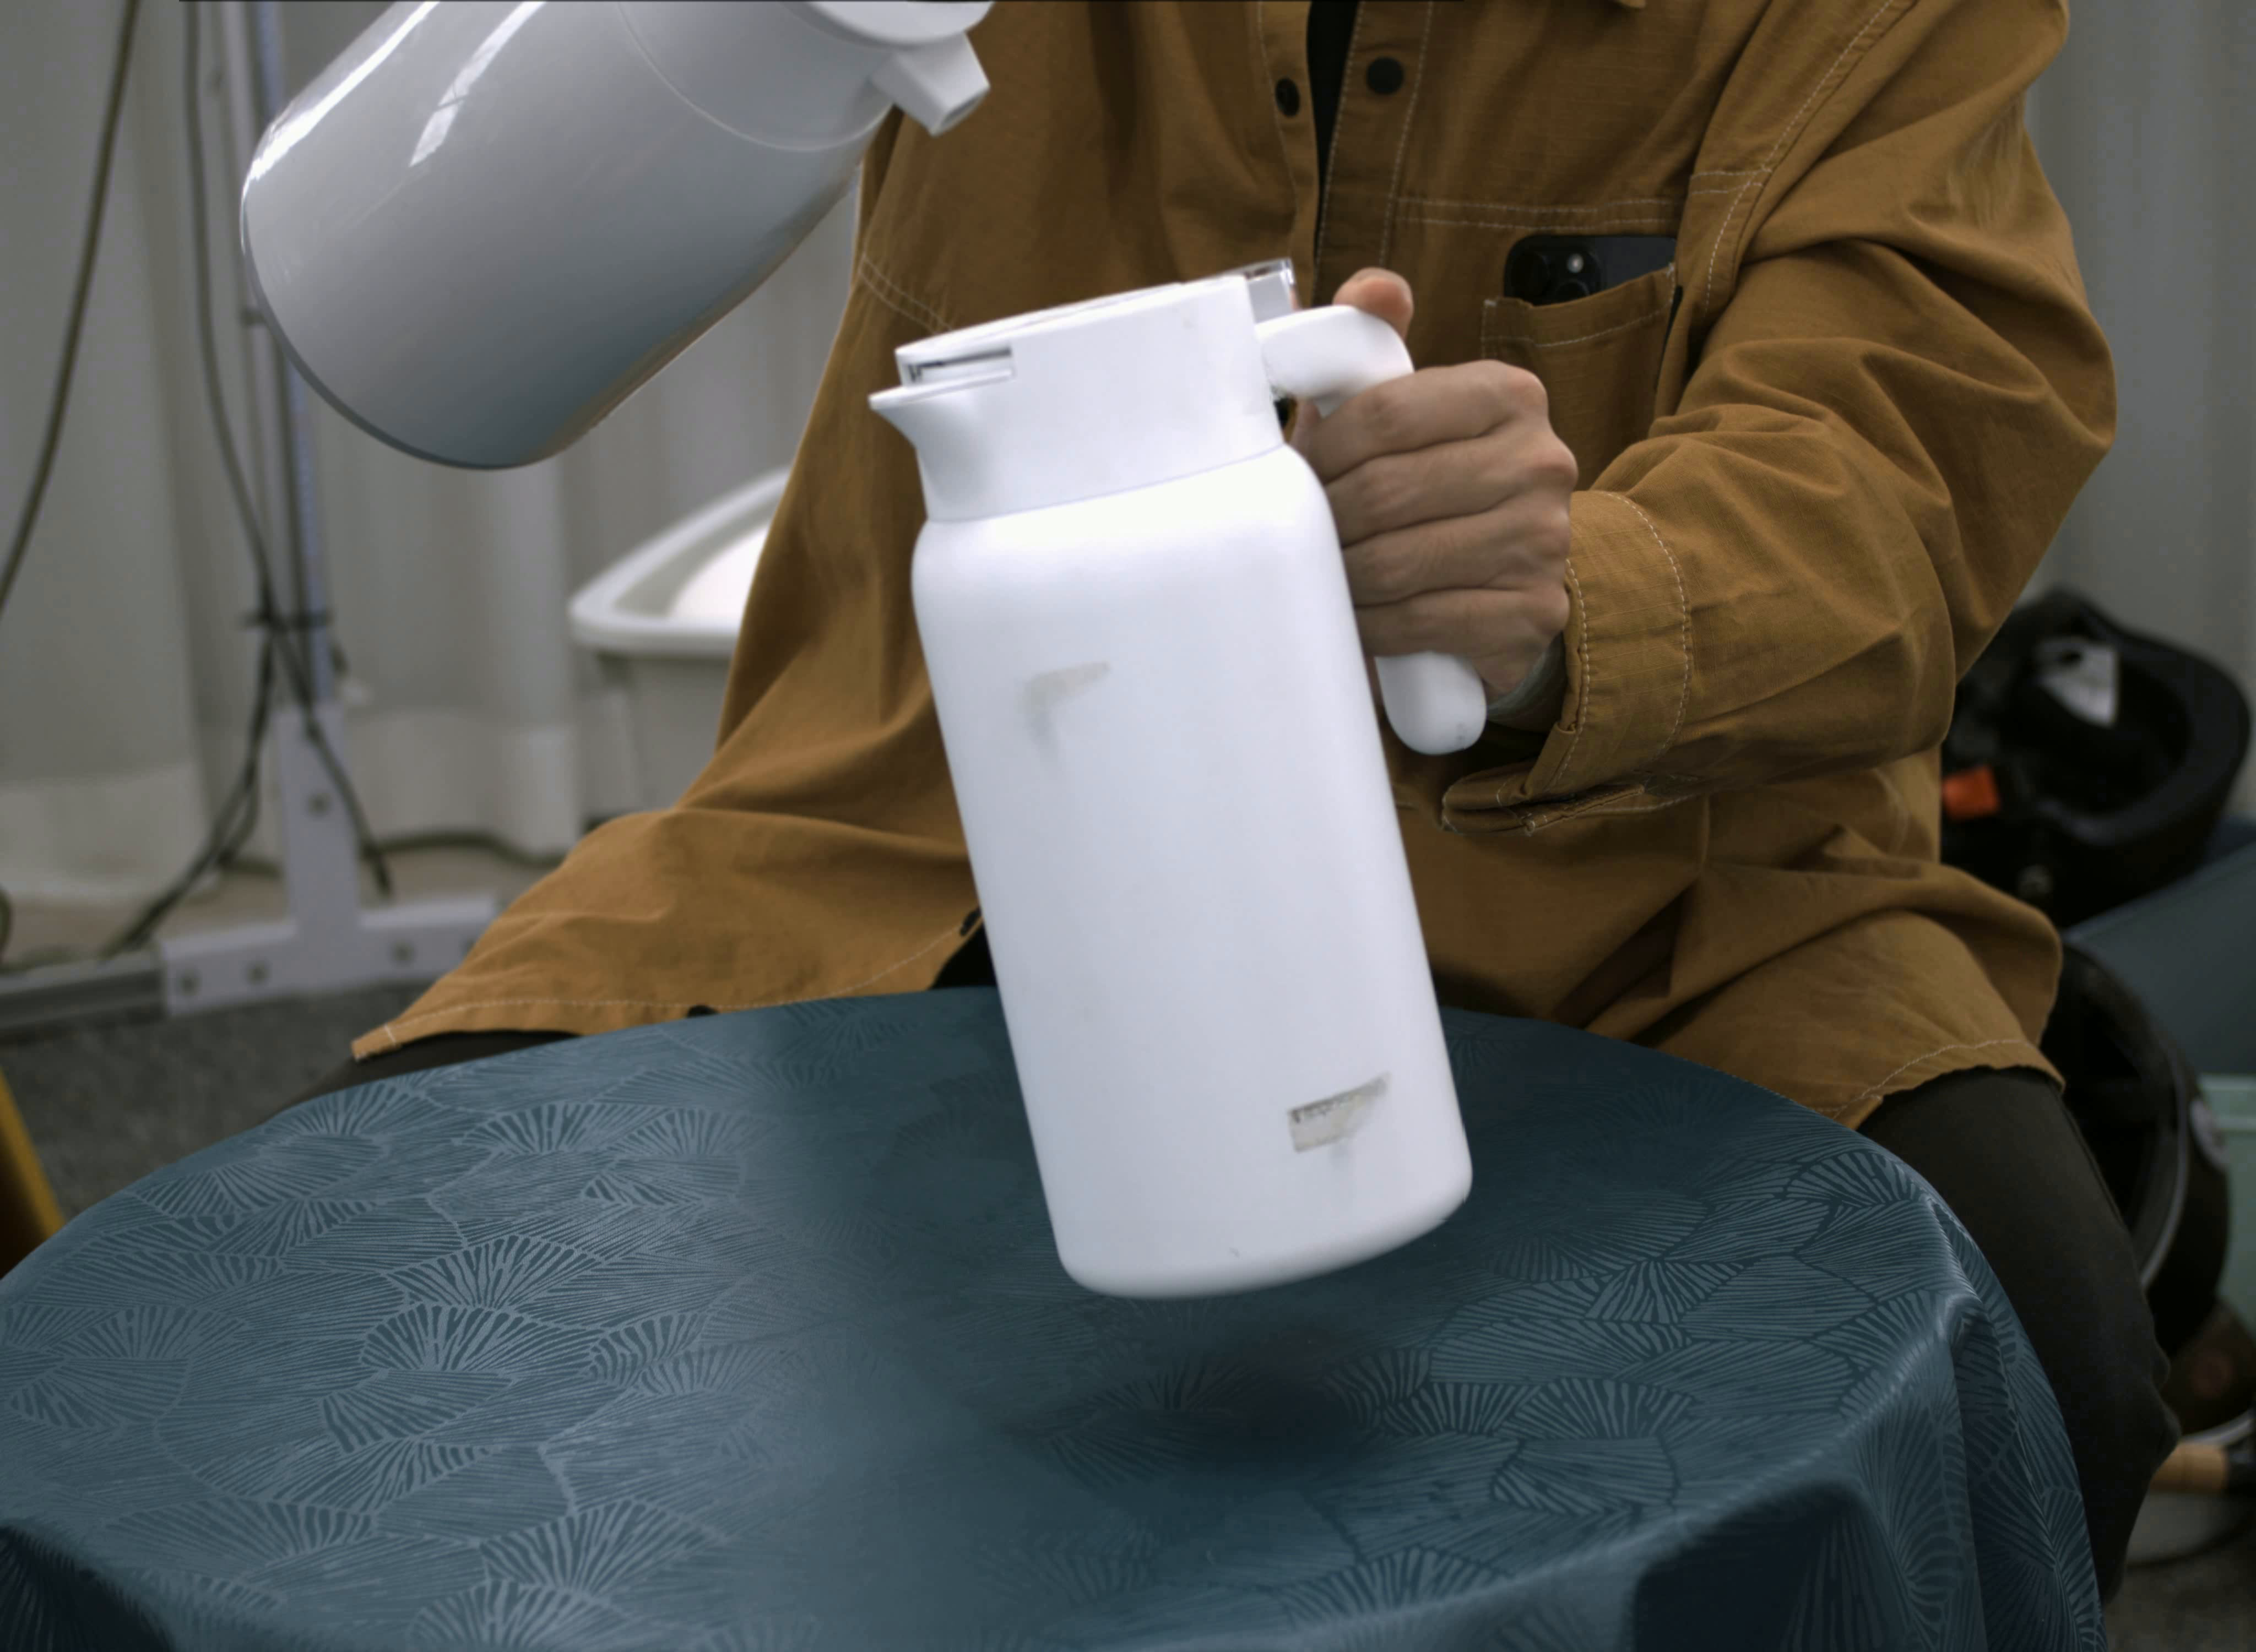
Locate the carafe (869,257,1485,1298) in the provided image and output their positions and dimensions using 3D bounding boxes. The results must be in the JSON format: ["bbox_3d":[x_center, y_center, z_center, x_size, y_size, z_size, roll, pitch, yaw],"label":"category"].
[{"bbox_3d":[0.025,-0.017,1.506,0.172,0.269,0.124,-17,6,-35],"label":"carafe"}]

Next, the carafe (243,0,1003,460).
[{"bbox_3d":[-0.146,-0.227,1.551,0.133,0.168,0.247,-37,4,-43],"label":"carafe"}]
